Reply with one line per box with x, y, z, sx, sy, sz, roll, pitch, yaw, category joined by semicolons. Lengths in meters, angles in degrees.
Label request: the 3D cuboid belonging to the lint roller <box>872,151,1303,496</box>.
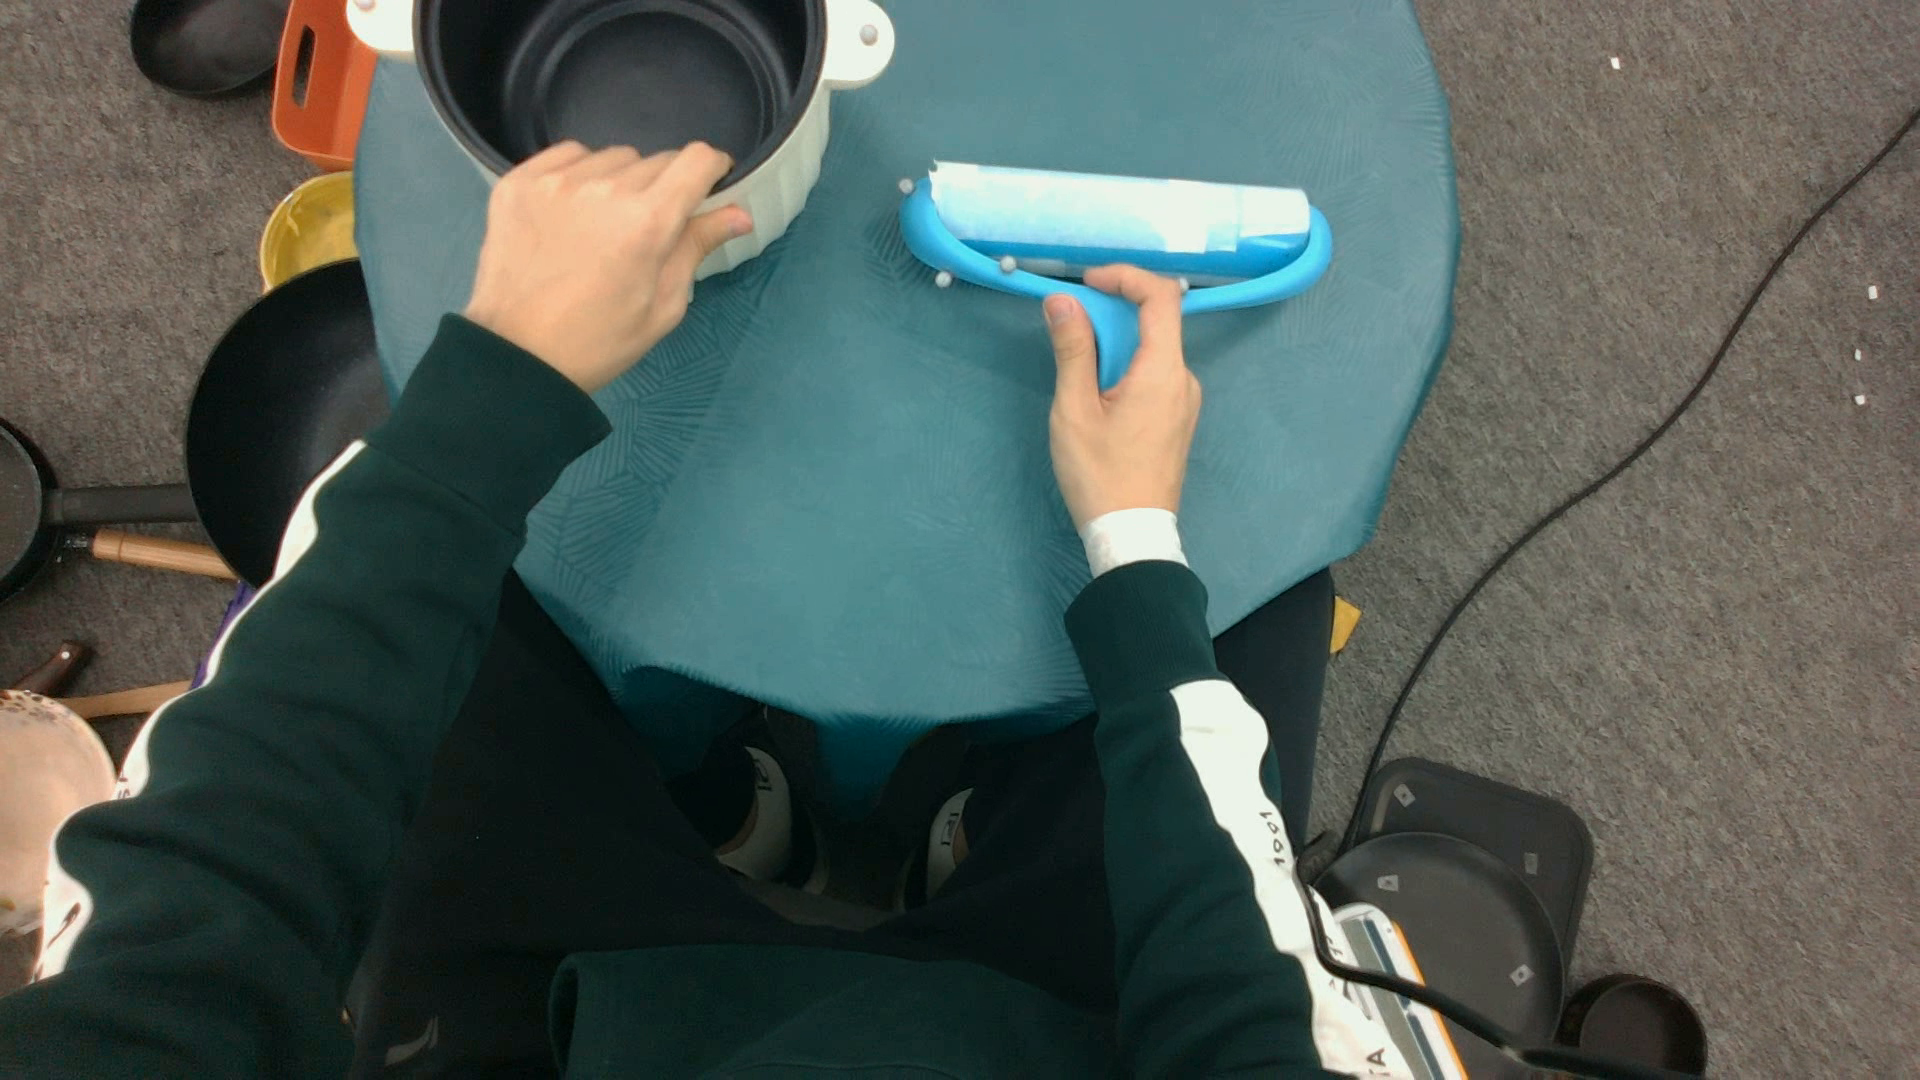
0.071;-0.117;0.719;0.229;0.068;0.180;-1;80;-7;lint roller

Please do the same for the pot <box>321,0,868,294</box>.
-0.167;-0.230;0.677;0.240;0.142;0.190;1;84;-6;pot
